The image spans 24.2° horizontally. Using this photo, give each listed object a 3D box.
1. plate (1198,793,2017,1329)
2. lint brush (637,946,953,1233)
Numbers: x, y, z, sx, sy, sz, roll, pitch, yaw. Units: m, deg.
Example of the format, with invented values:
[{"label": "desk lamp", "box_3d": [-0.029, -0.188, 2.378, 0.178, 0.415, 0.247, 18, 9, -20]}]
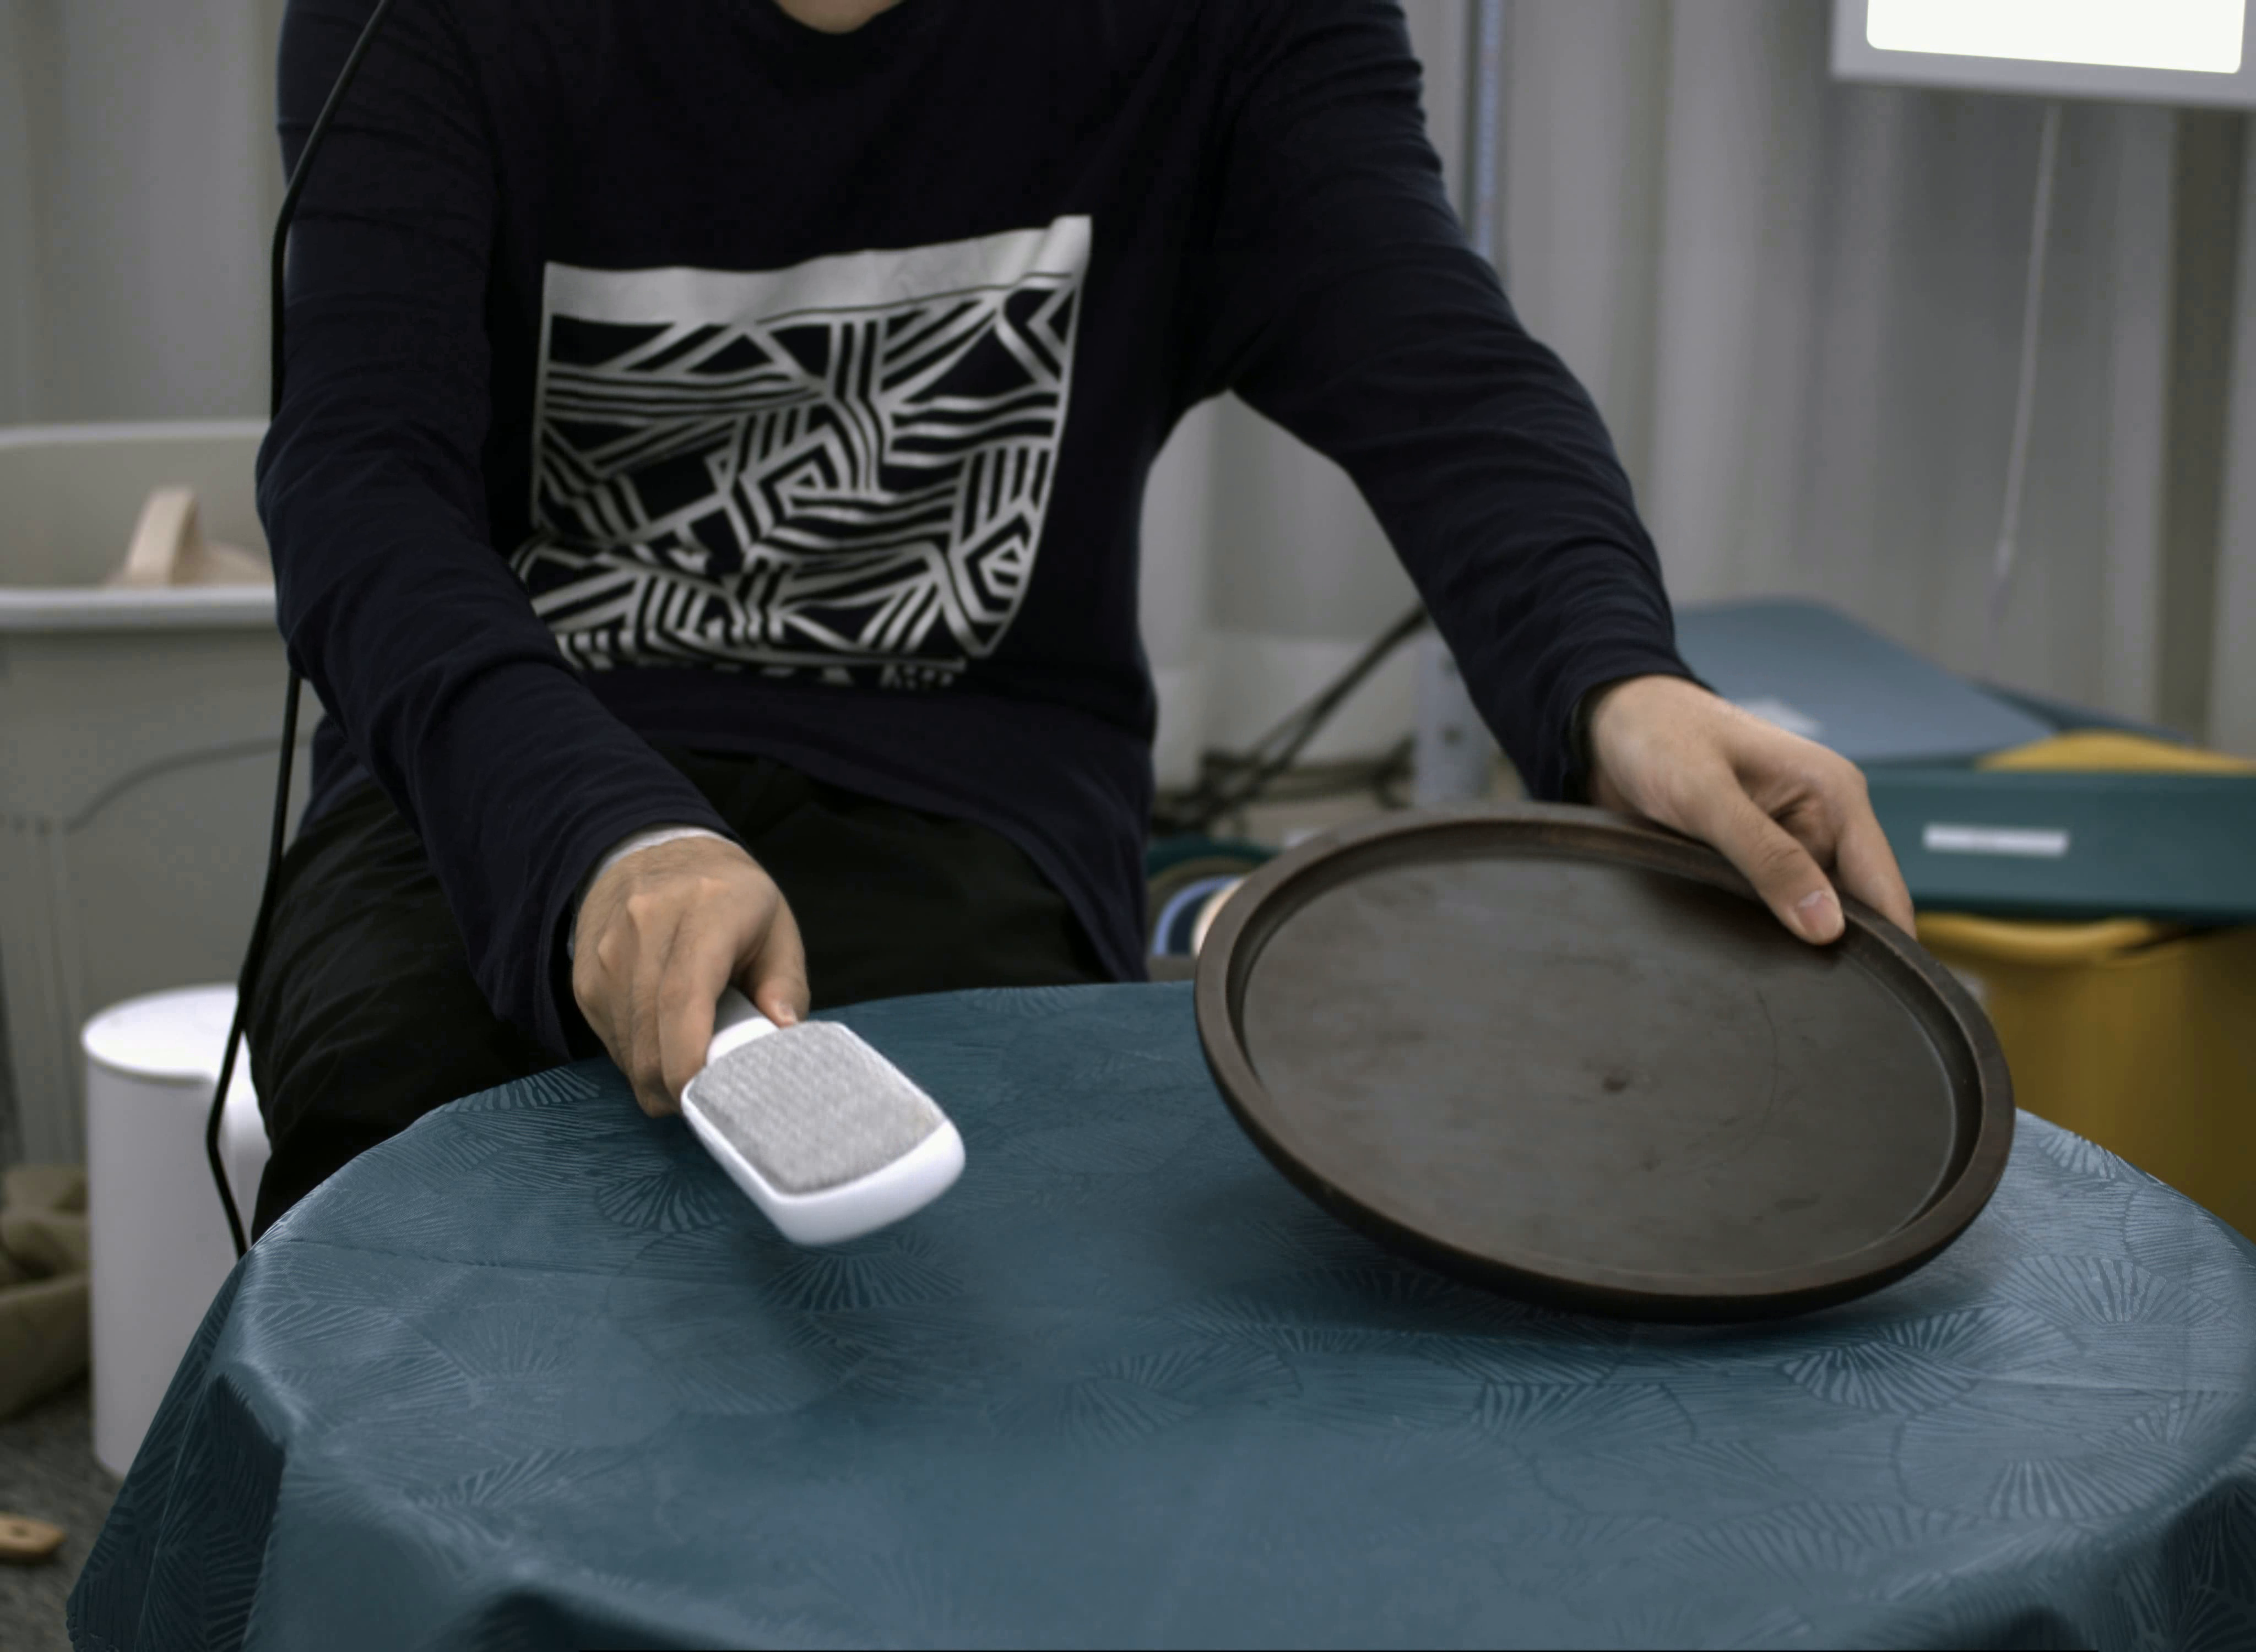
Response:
[{"label": "plate", "box_3d": [0.144, 0.068, 1.599, 0.254, 0.029, 0.252, 9, 34, -6]}, {"label": "lint brush", "box_3d": [-0.108, 0.072, 1.574, 0.060, 0.021, 0.306, -29, 16, -9]}]
